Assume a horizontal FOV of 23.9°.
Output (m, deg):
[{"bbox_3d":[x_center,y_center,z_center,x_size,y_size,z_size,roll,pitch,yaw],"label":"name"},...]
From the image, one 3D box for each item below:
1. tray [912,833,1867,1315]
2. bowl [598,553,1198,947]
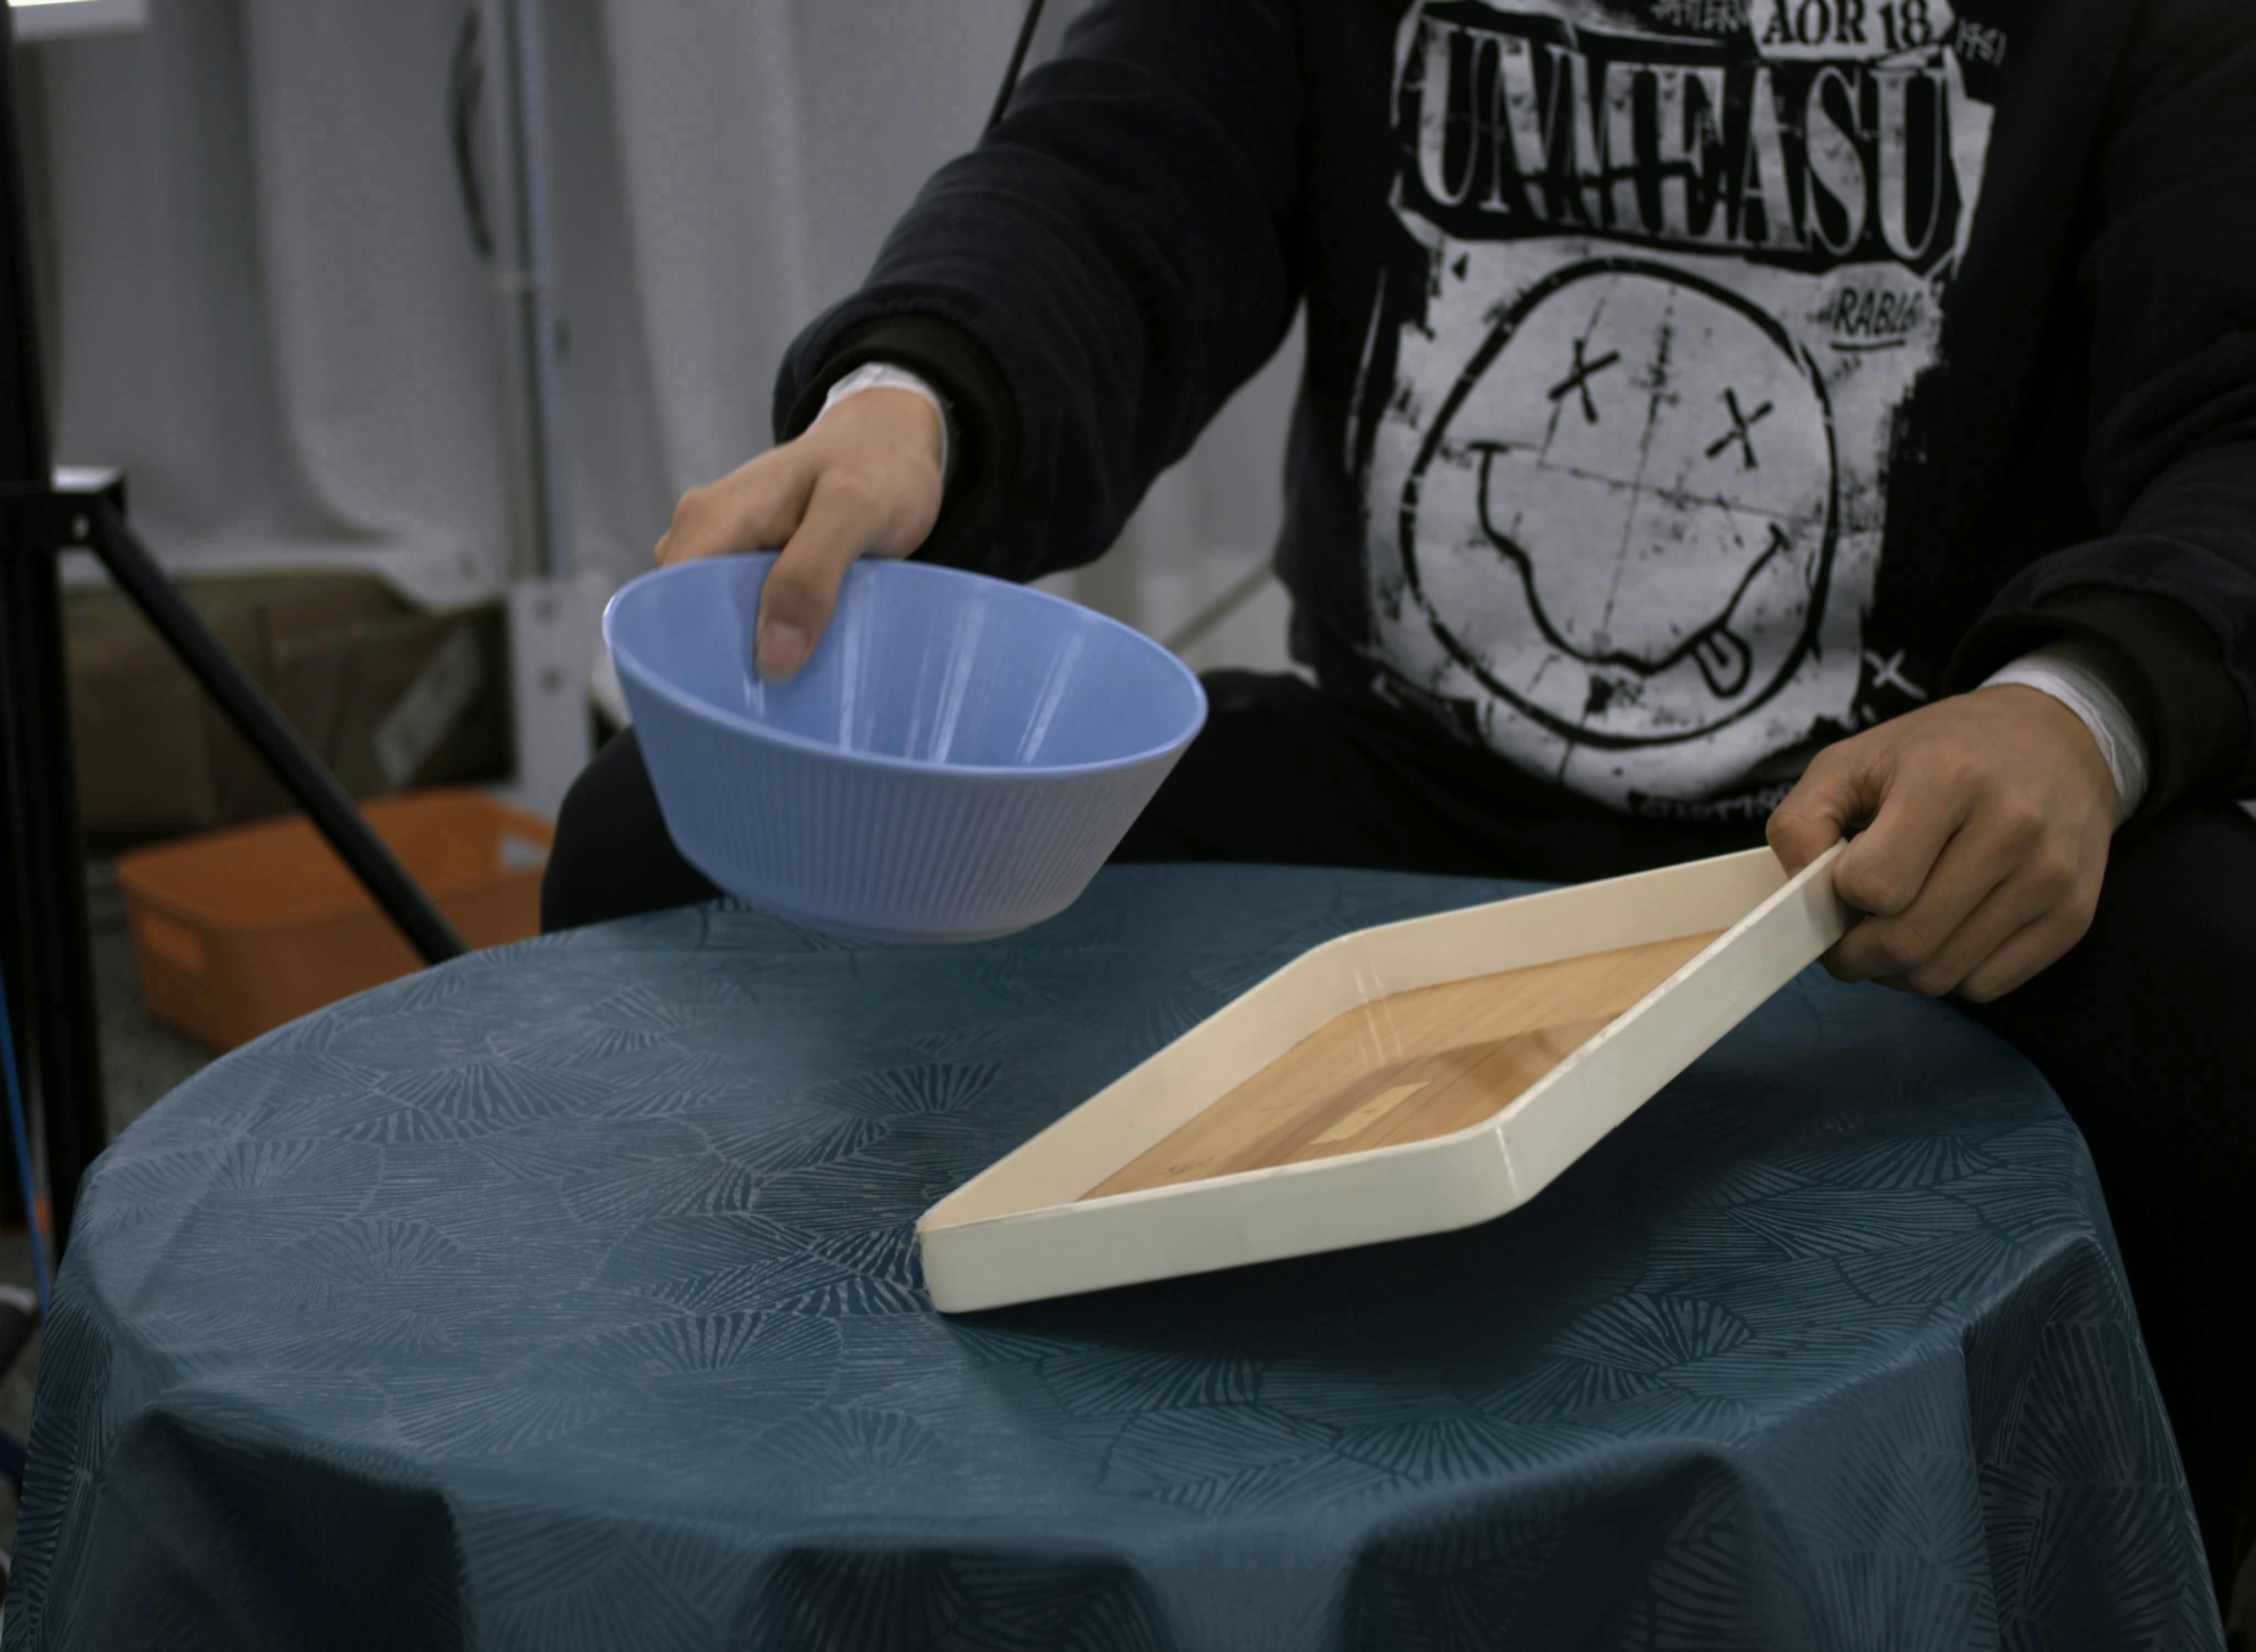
[{"bbox_3d":[0.083,0.070,1.538,0.194,0.027,0.295,-12,10,31],"label":"tray"},{"bbox_3d":[-0.070,-0.018,1.546,0.175,0.070,0.177,6,22,-4],"label":"bowl"}]
